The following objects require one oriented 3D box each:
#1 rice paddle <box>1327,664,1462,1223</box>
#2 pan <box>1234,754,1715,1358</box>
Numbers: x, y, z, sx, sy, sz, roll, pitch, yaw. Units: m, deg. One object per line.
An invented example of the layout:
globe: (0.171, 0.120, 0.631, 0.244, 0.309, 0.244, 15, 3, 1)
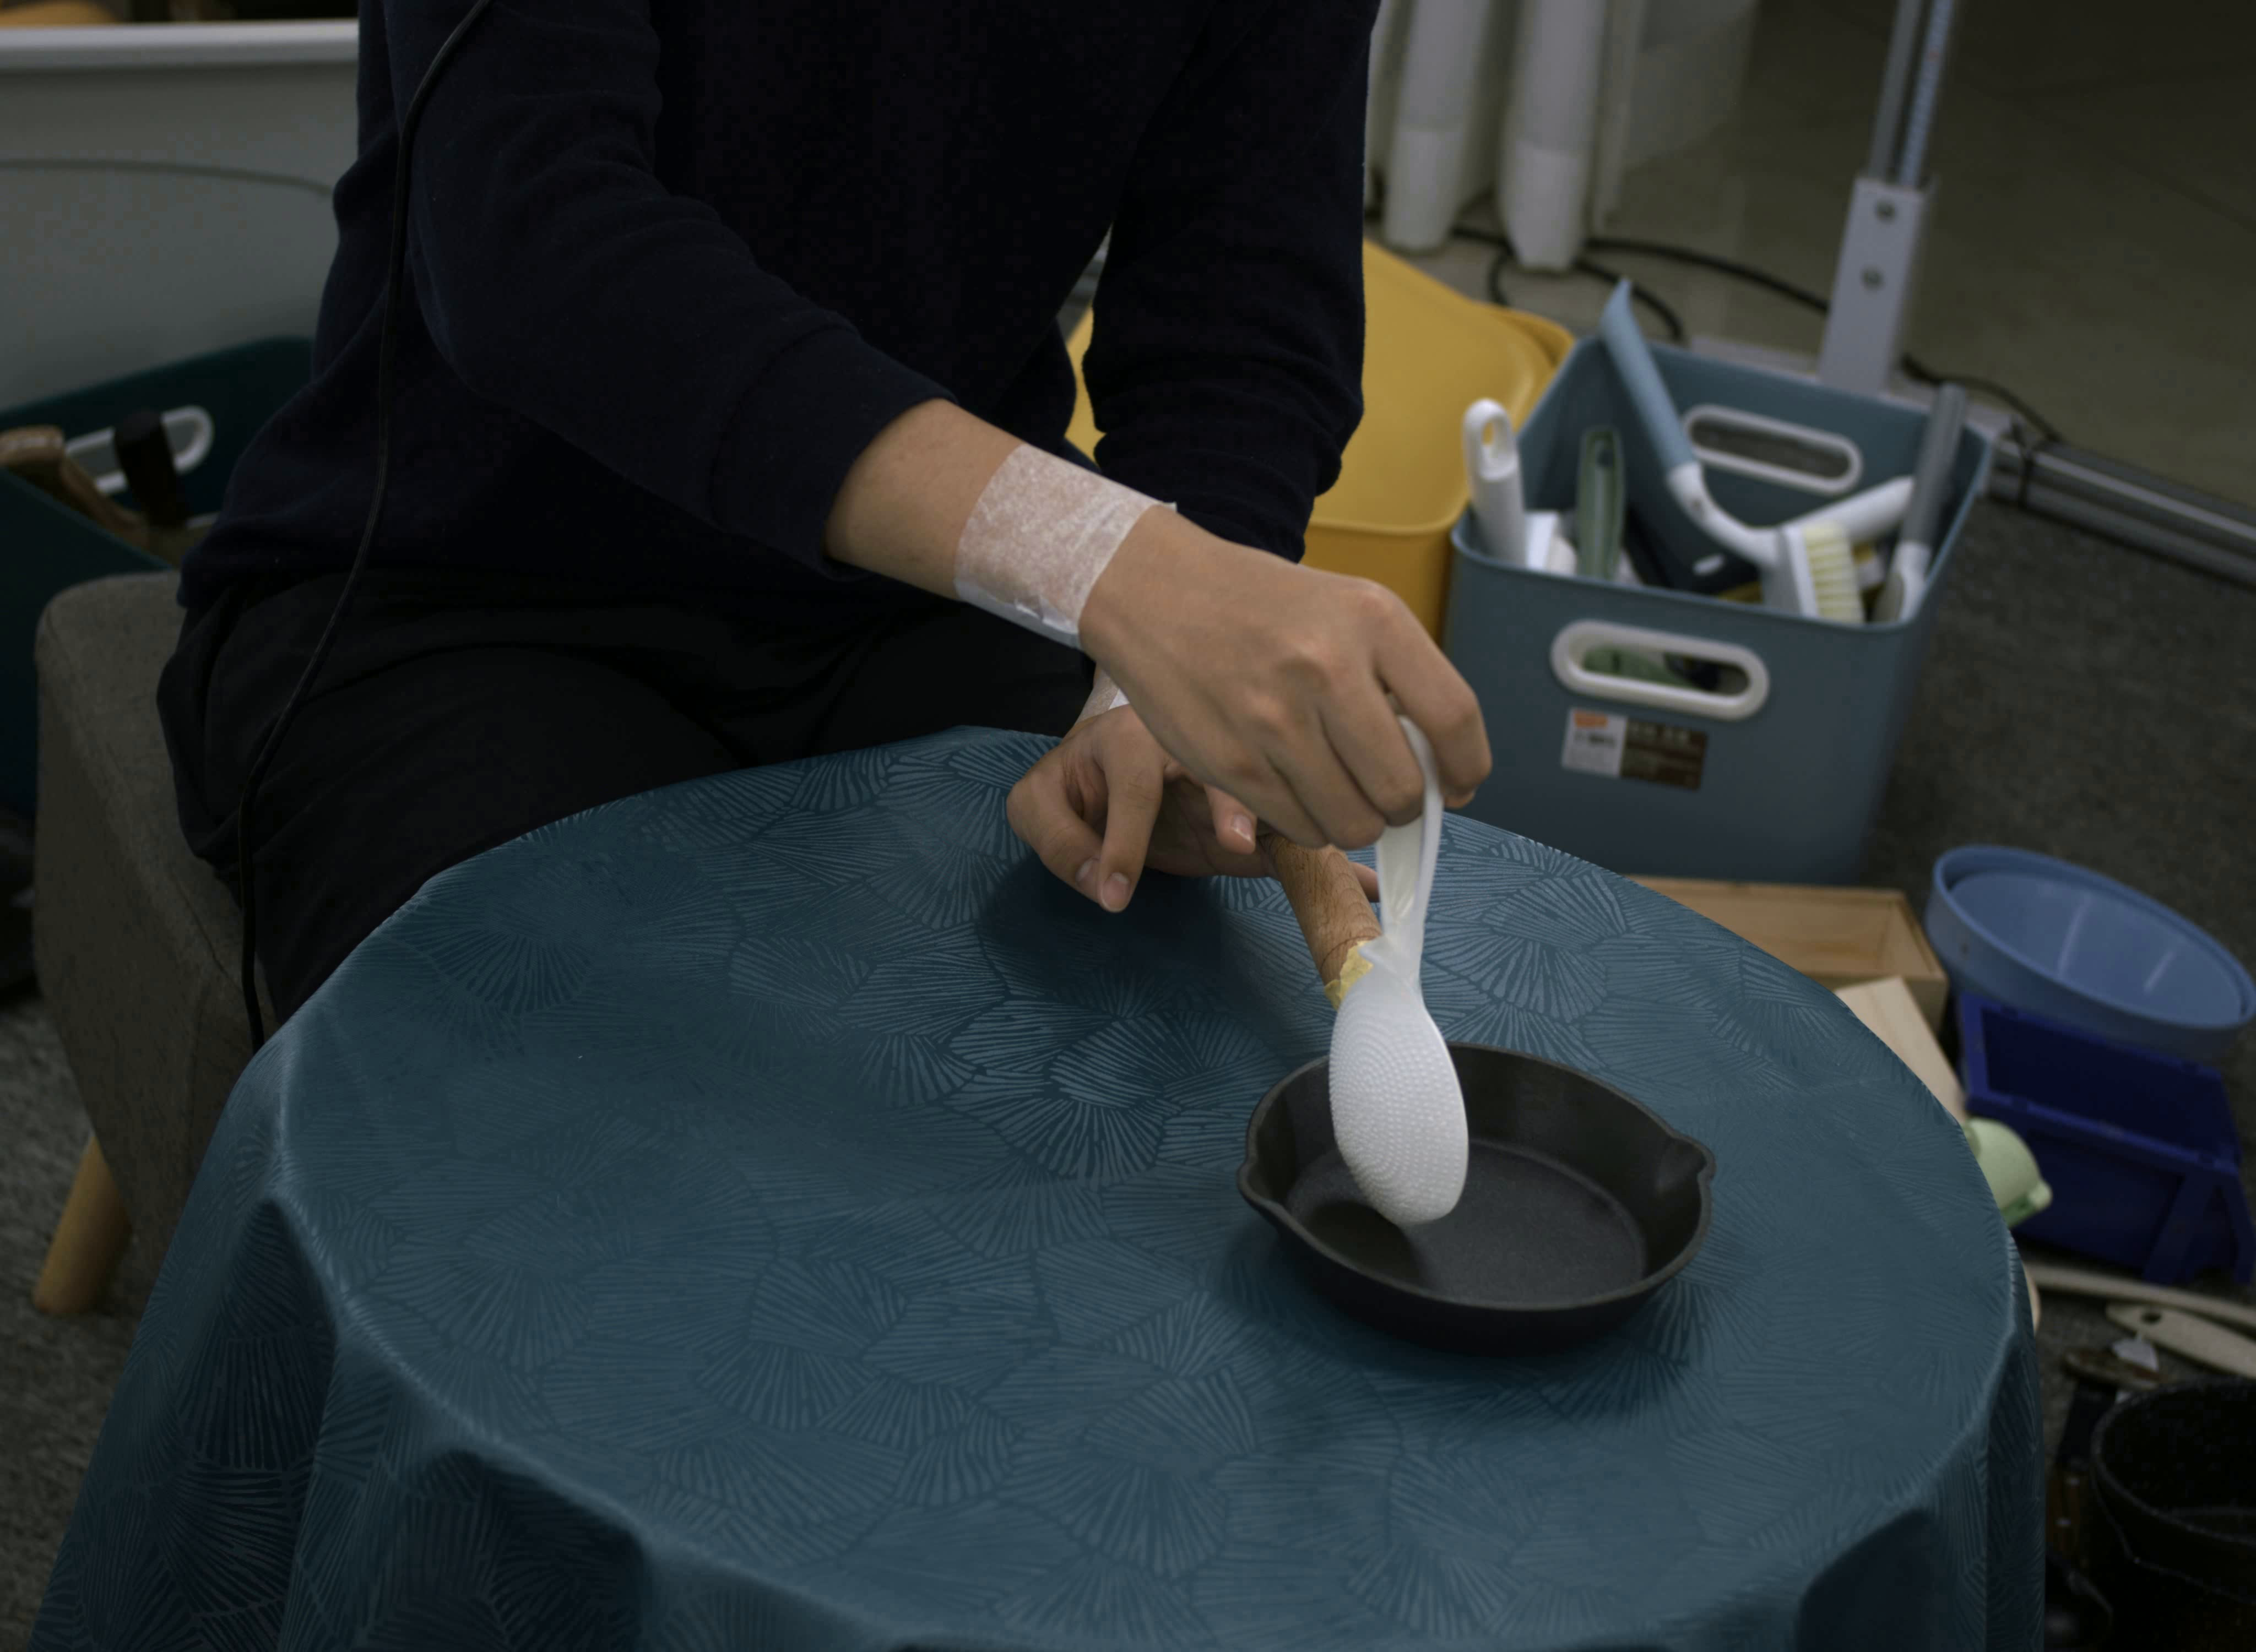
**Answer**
rice paddle: (0.088, 0.043, 1.739, 0.029, 0.204, 0.069, -22, 37, -31)
pan: (0.095, 0.077, 1.843, 0.168, 0.049, 0.327, -2, 33, -15)
